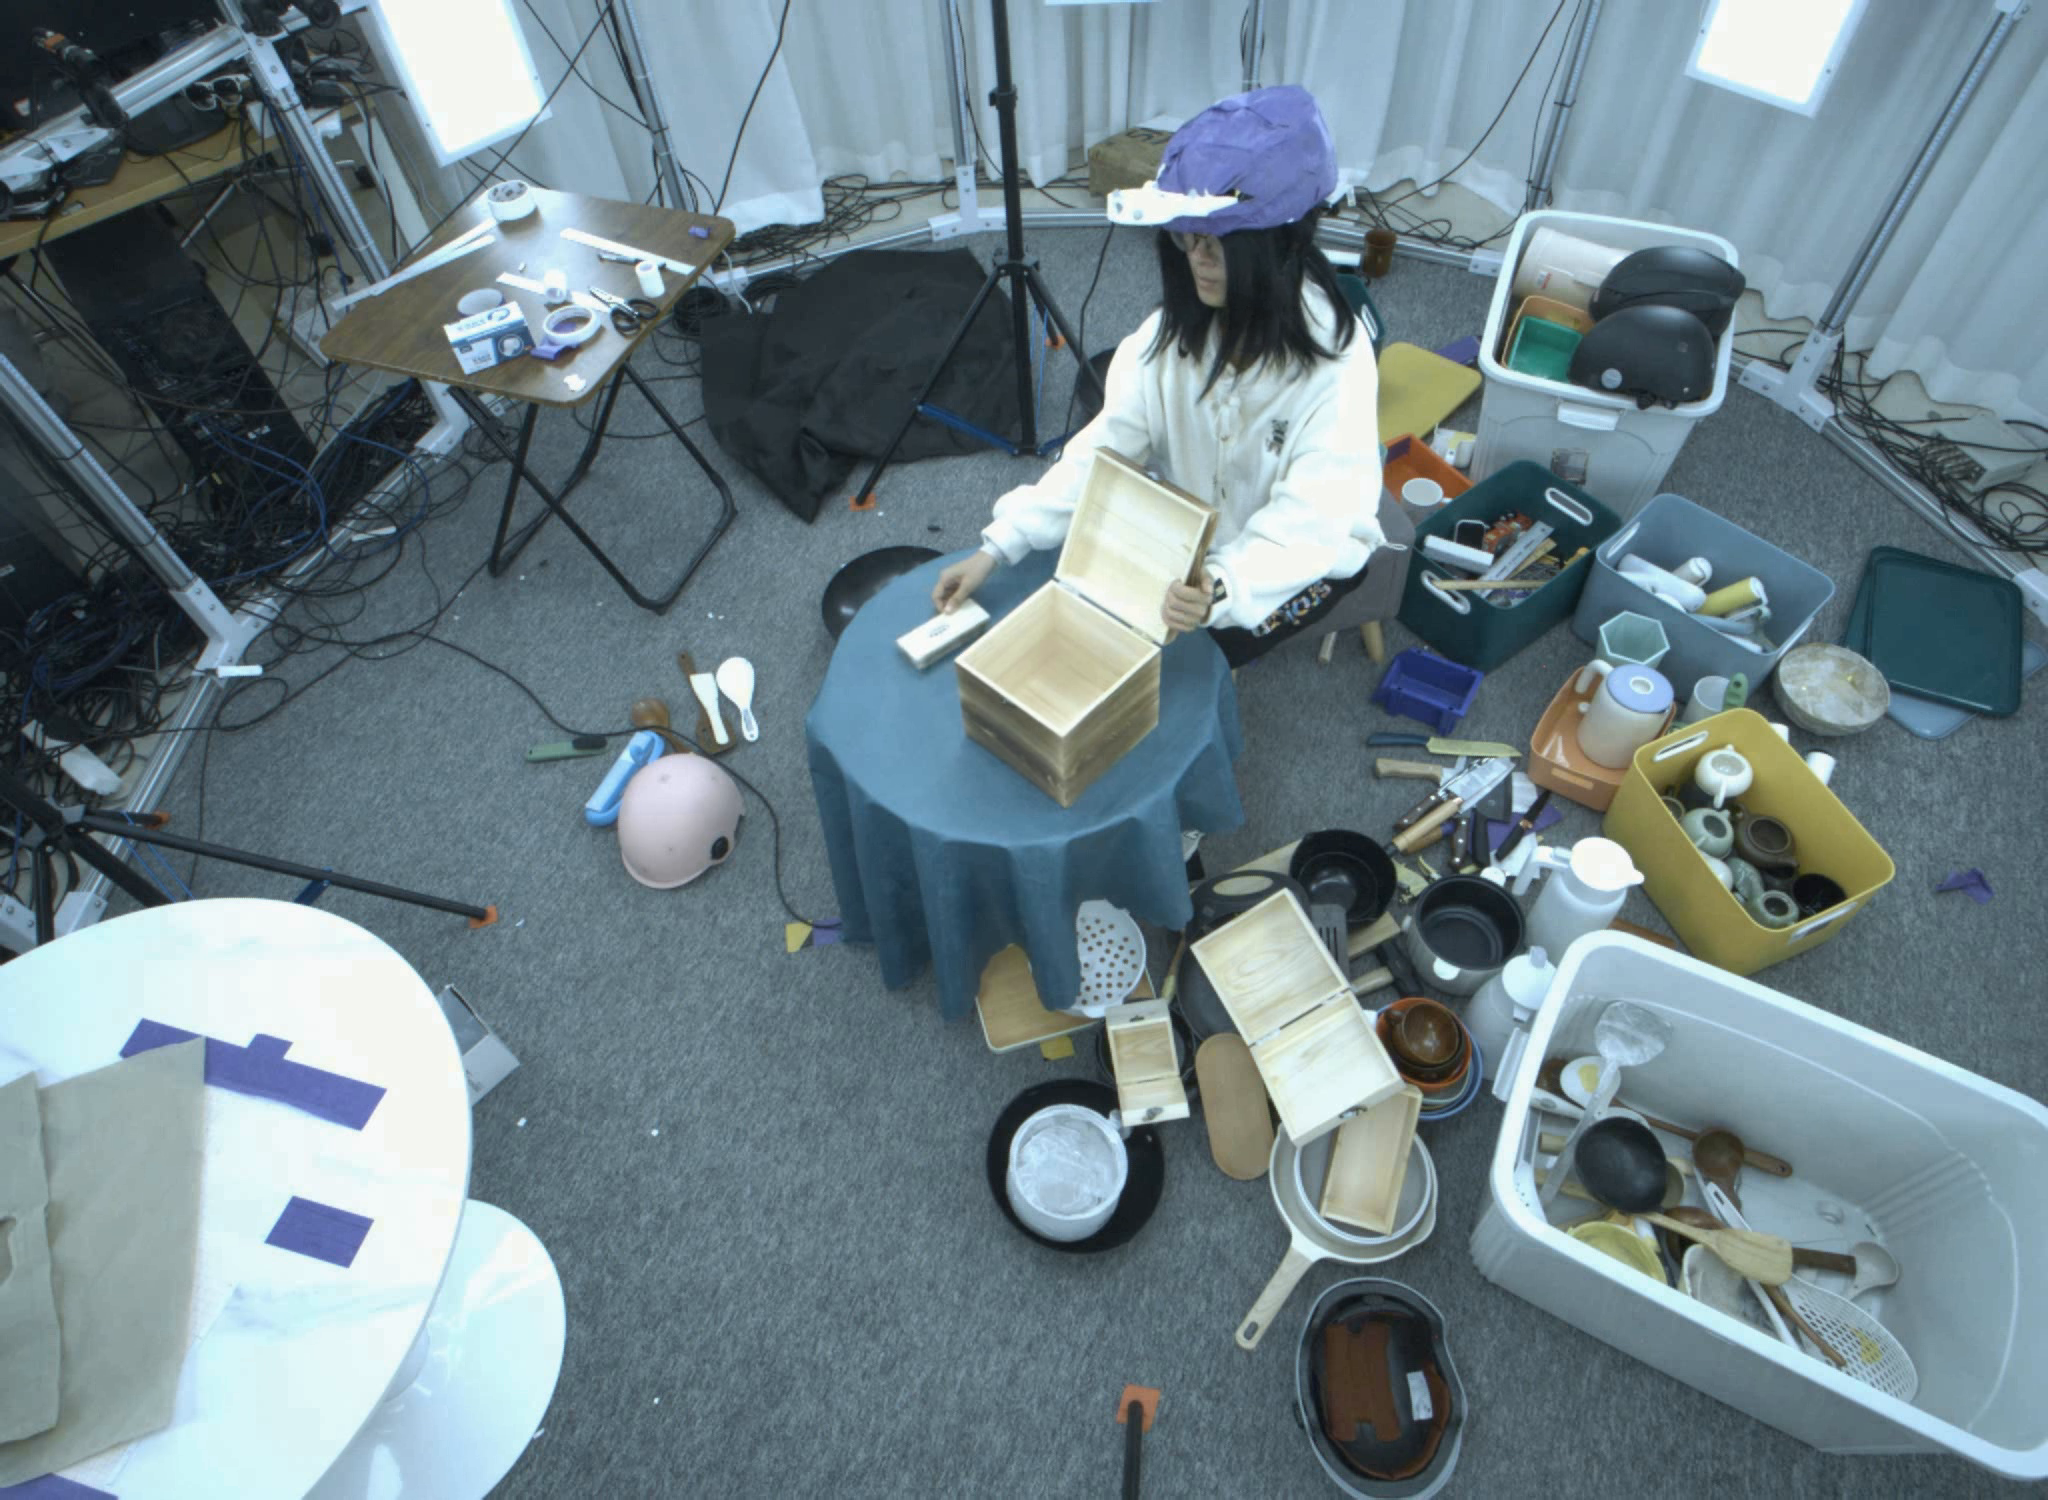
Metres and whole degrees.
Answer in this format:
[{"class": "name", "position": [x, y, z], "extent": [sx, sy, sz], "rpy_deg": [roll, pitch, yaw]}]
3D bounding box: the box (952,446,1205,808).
[{"class": "box", "position": [0.076, -0.170, 1.681], "extent": [0.205, 0.380, 0.324], "rpy_deg": [35, 64, 26]}]

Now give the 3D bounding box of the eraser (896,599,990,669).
[{"class": "eraser", "position": [-0.125, -0.180, 1.901], "extent": [0.140, 0.029, 0.056], "rpy_deg": [-31, 56, -19]}]
